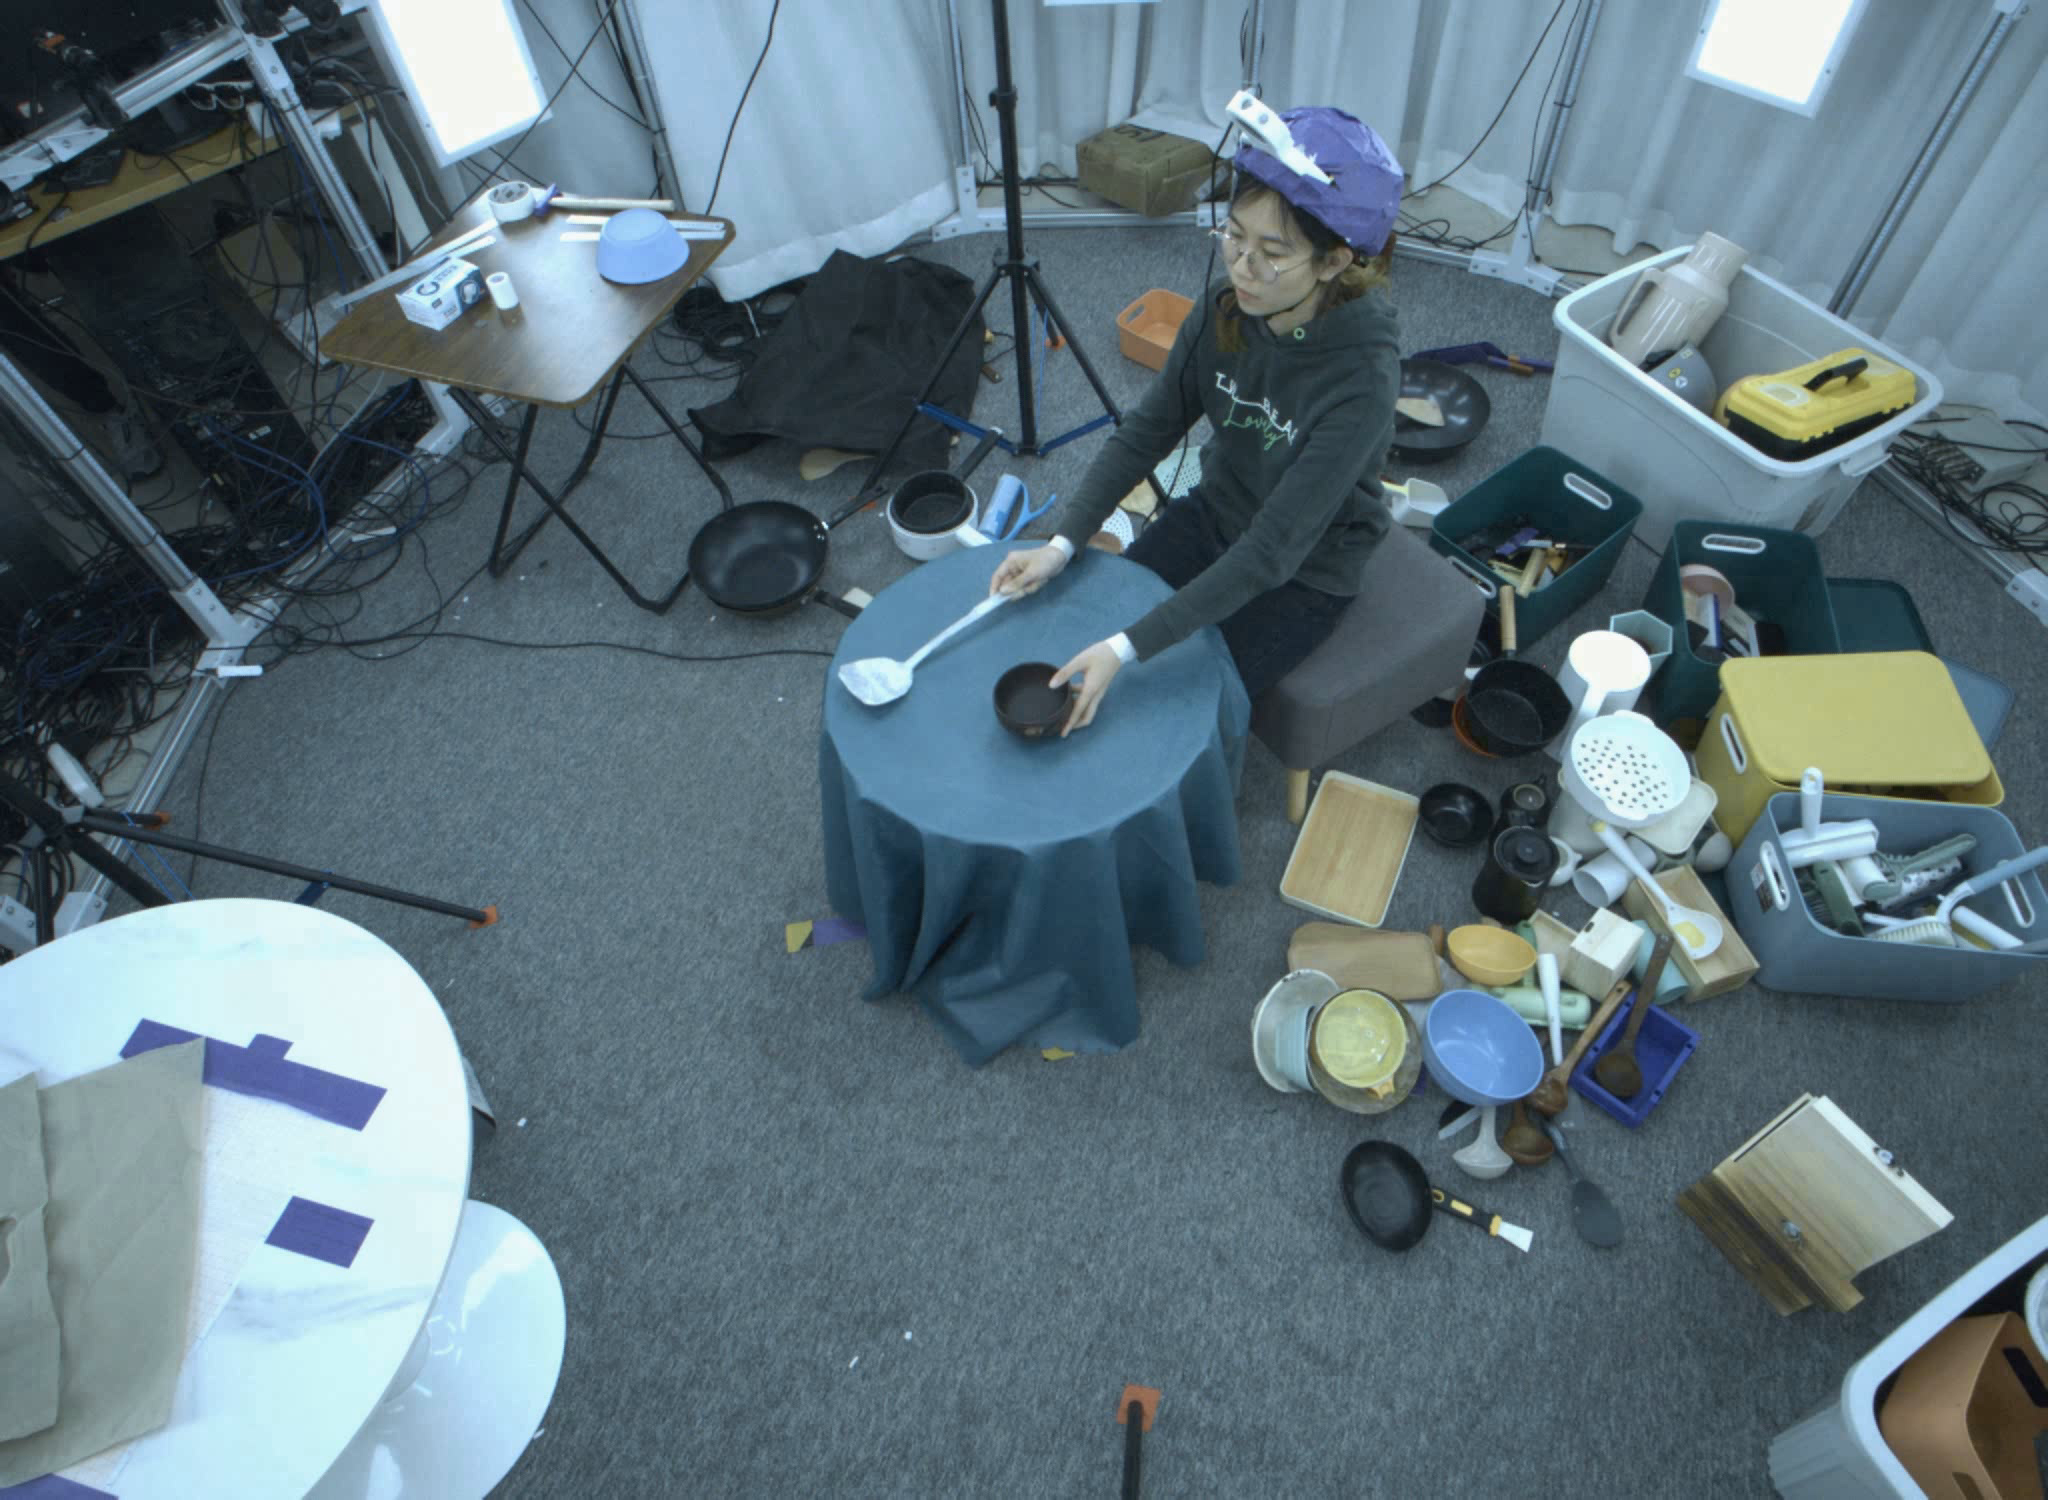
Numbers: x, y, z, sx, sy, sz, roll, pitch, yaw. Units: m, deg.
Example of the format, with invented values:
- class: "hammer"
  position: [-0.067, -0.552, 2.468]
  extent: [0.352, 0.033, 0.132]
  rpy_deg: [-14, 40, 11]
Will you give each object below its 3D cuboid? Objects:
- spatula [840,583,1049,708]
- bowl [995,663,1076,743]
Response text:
- class: "spatula"
  position: [-0.114, -0.176, 1.890]
  extent: [0.367, 0.045, 0.097]
  rpy_deg: [-36, 60, -15]
- class: "bowl"
  position: [0.018, -0.061, 1.793]
  extent: [0.118, 0.070, 0.117]
  rpy_deg: [-2, 56, 3]
